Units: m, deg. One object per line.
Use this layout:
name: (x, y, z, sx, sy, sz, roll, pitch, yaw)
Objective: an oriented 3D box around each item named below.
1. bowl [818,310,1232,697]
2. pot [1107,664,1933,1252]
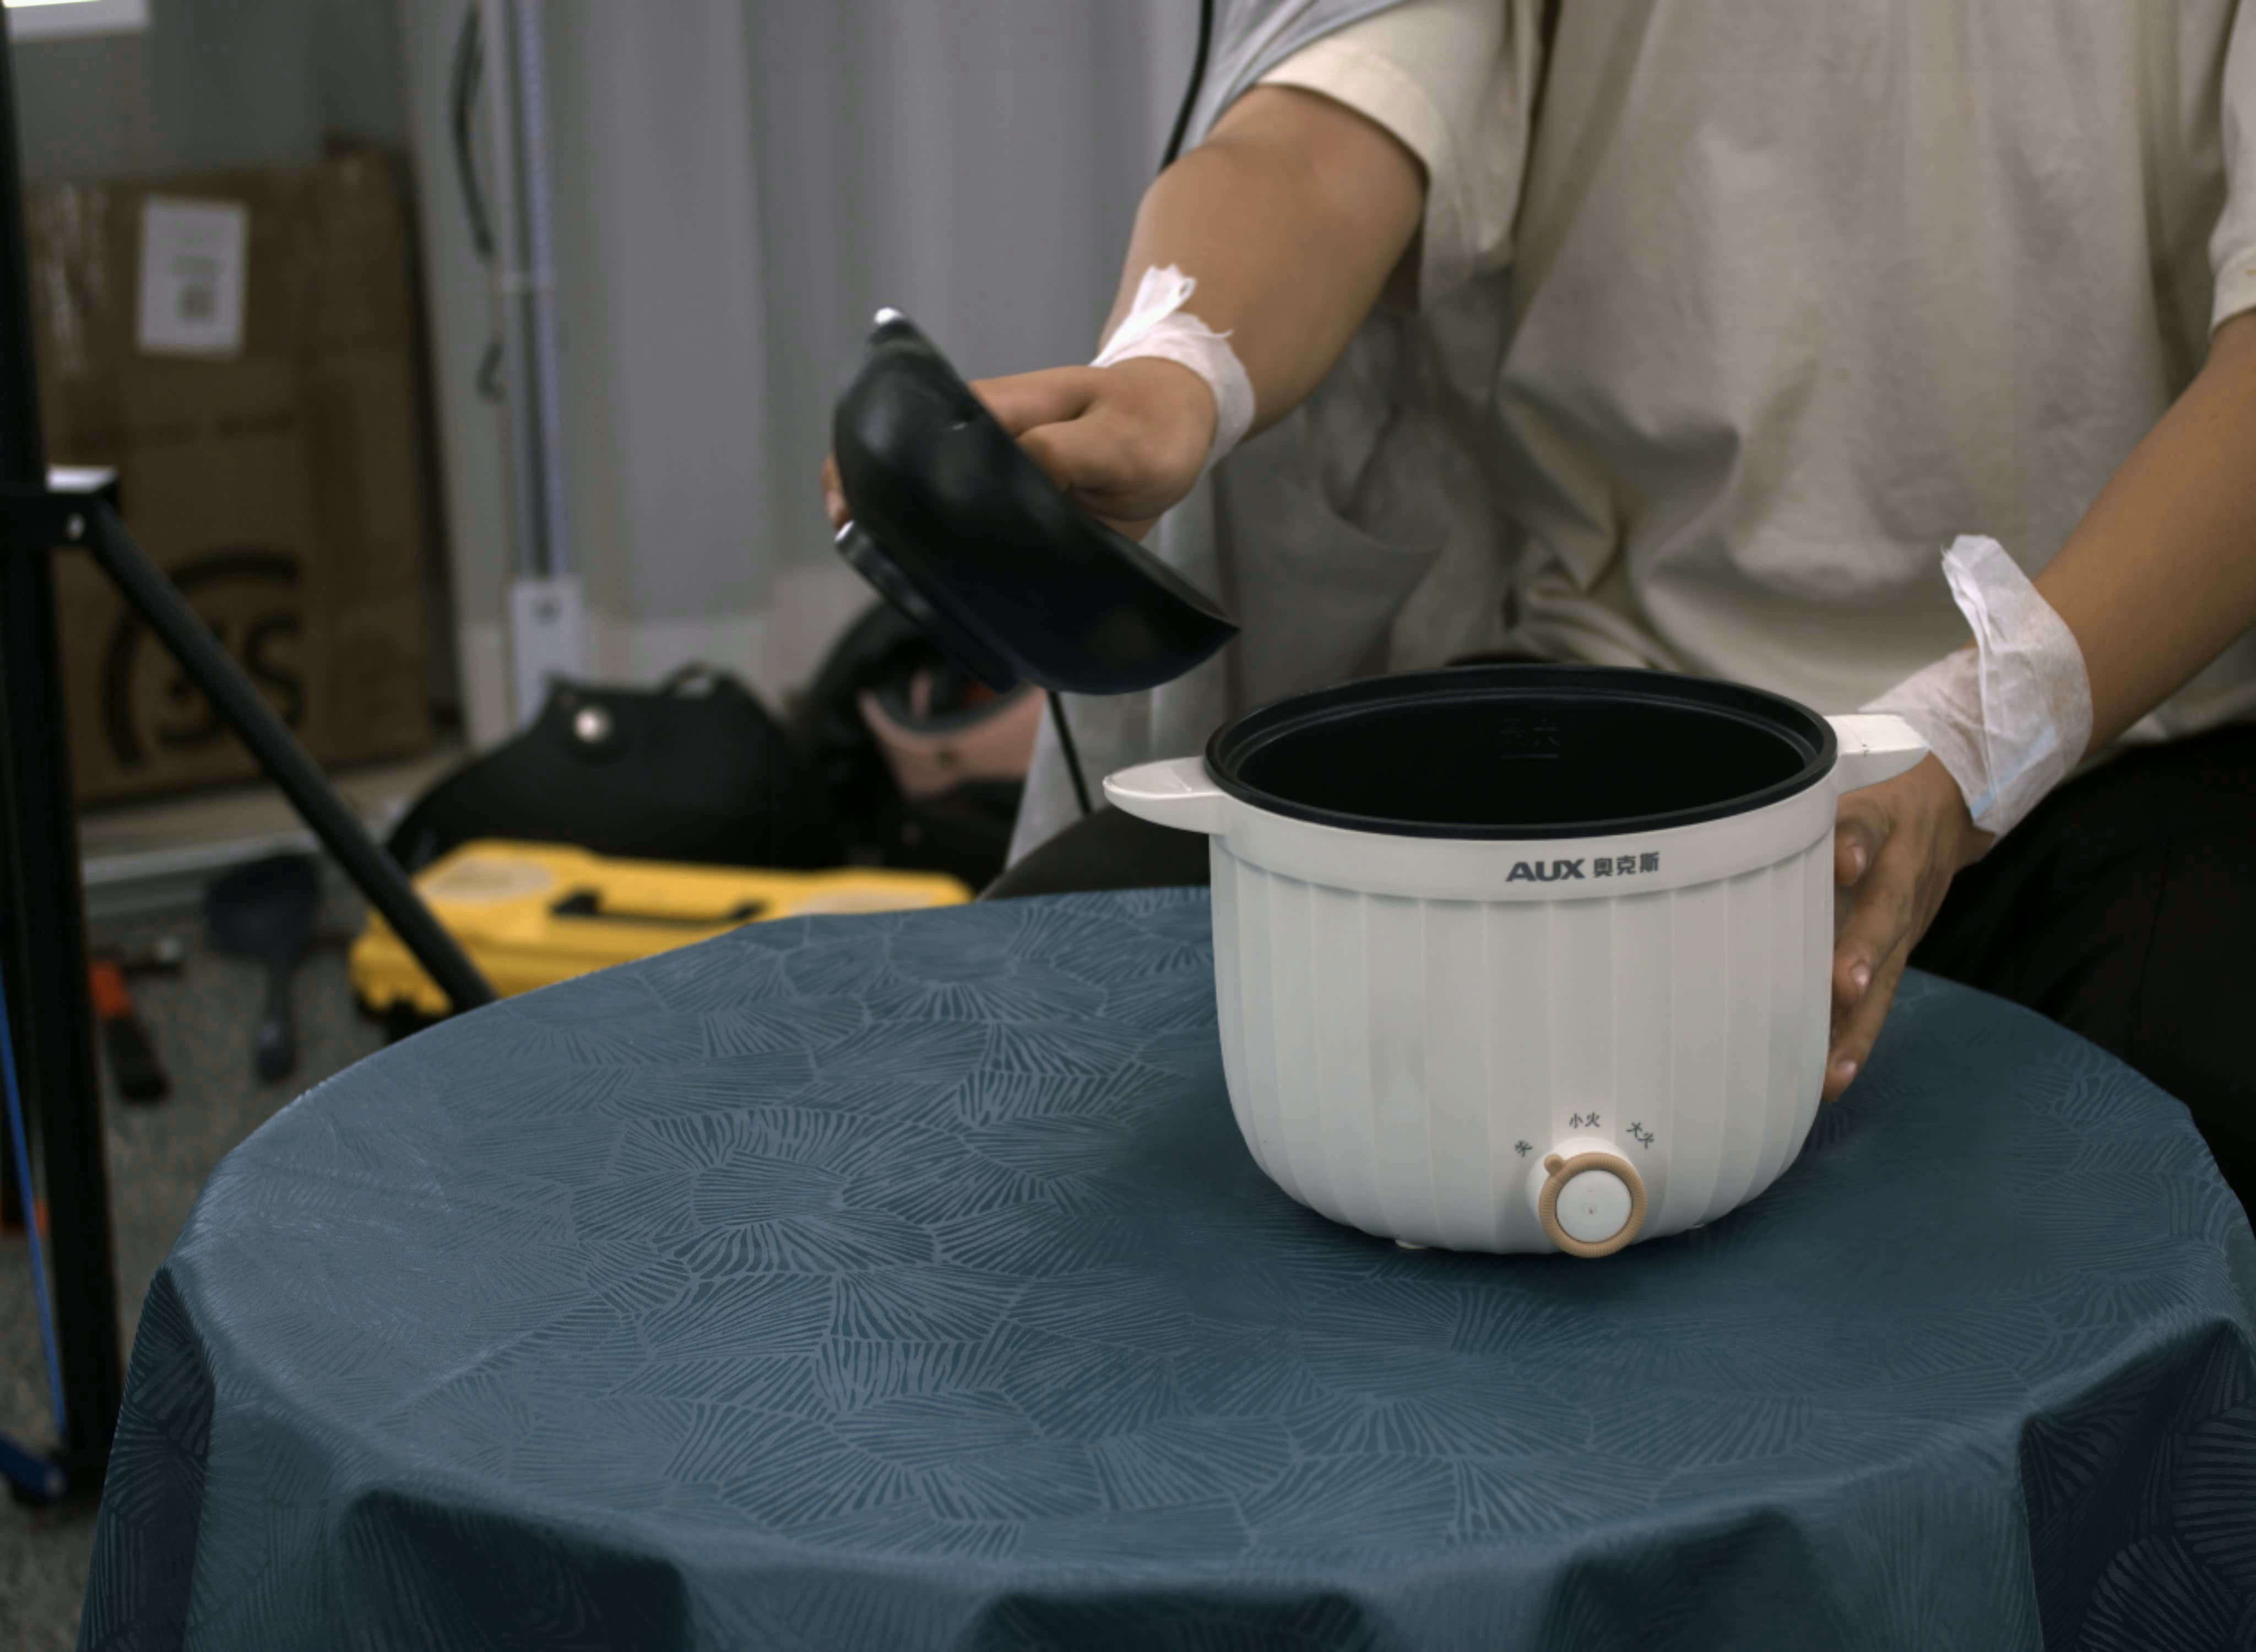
bowl: (-0.044, -0.084, 1.558, 0.135, 0.067, 0.172, 40, 2, -20)
pot: (0.116, 0.041, 1.522, 0.238, 0.143, 0.192, -5, 12, -5)
